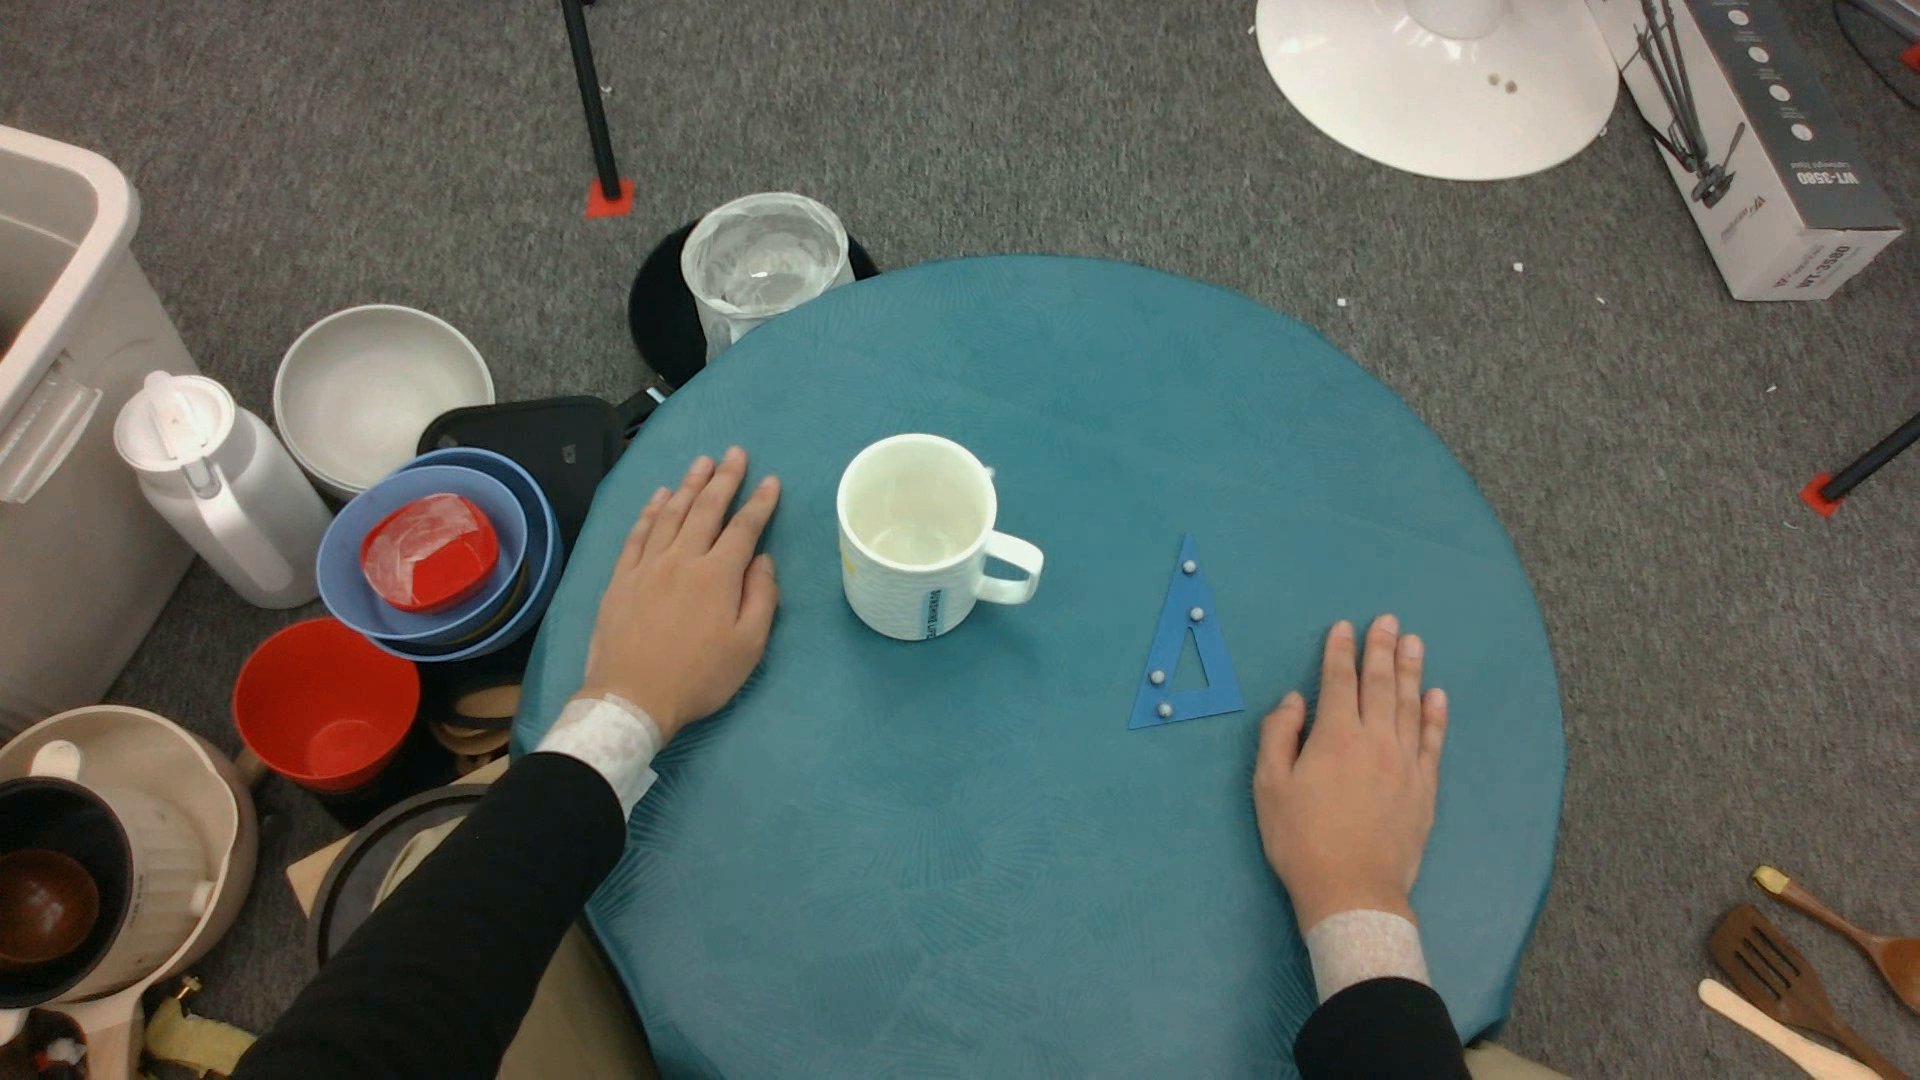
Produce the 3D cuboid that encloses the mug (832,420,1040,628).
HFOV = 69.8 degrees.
[{"bbox_3d":[-0.014,-0.001,0.783,0.118,0.101,0.085,19,63,6],"label":"mug"}]

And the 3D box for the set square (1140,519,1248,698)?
[{"bbox_3d":[0.155,0.047,0.826,0.061,0.006,0.132,21,63,8],"label":"set square"}]
